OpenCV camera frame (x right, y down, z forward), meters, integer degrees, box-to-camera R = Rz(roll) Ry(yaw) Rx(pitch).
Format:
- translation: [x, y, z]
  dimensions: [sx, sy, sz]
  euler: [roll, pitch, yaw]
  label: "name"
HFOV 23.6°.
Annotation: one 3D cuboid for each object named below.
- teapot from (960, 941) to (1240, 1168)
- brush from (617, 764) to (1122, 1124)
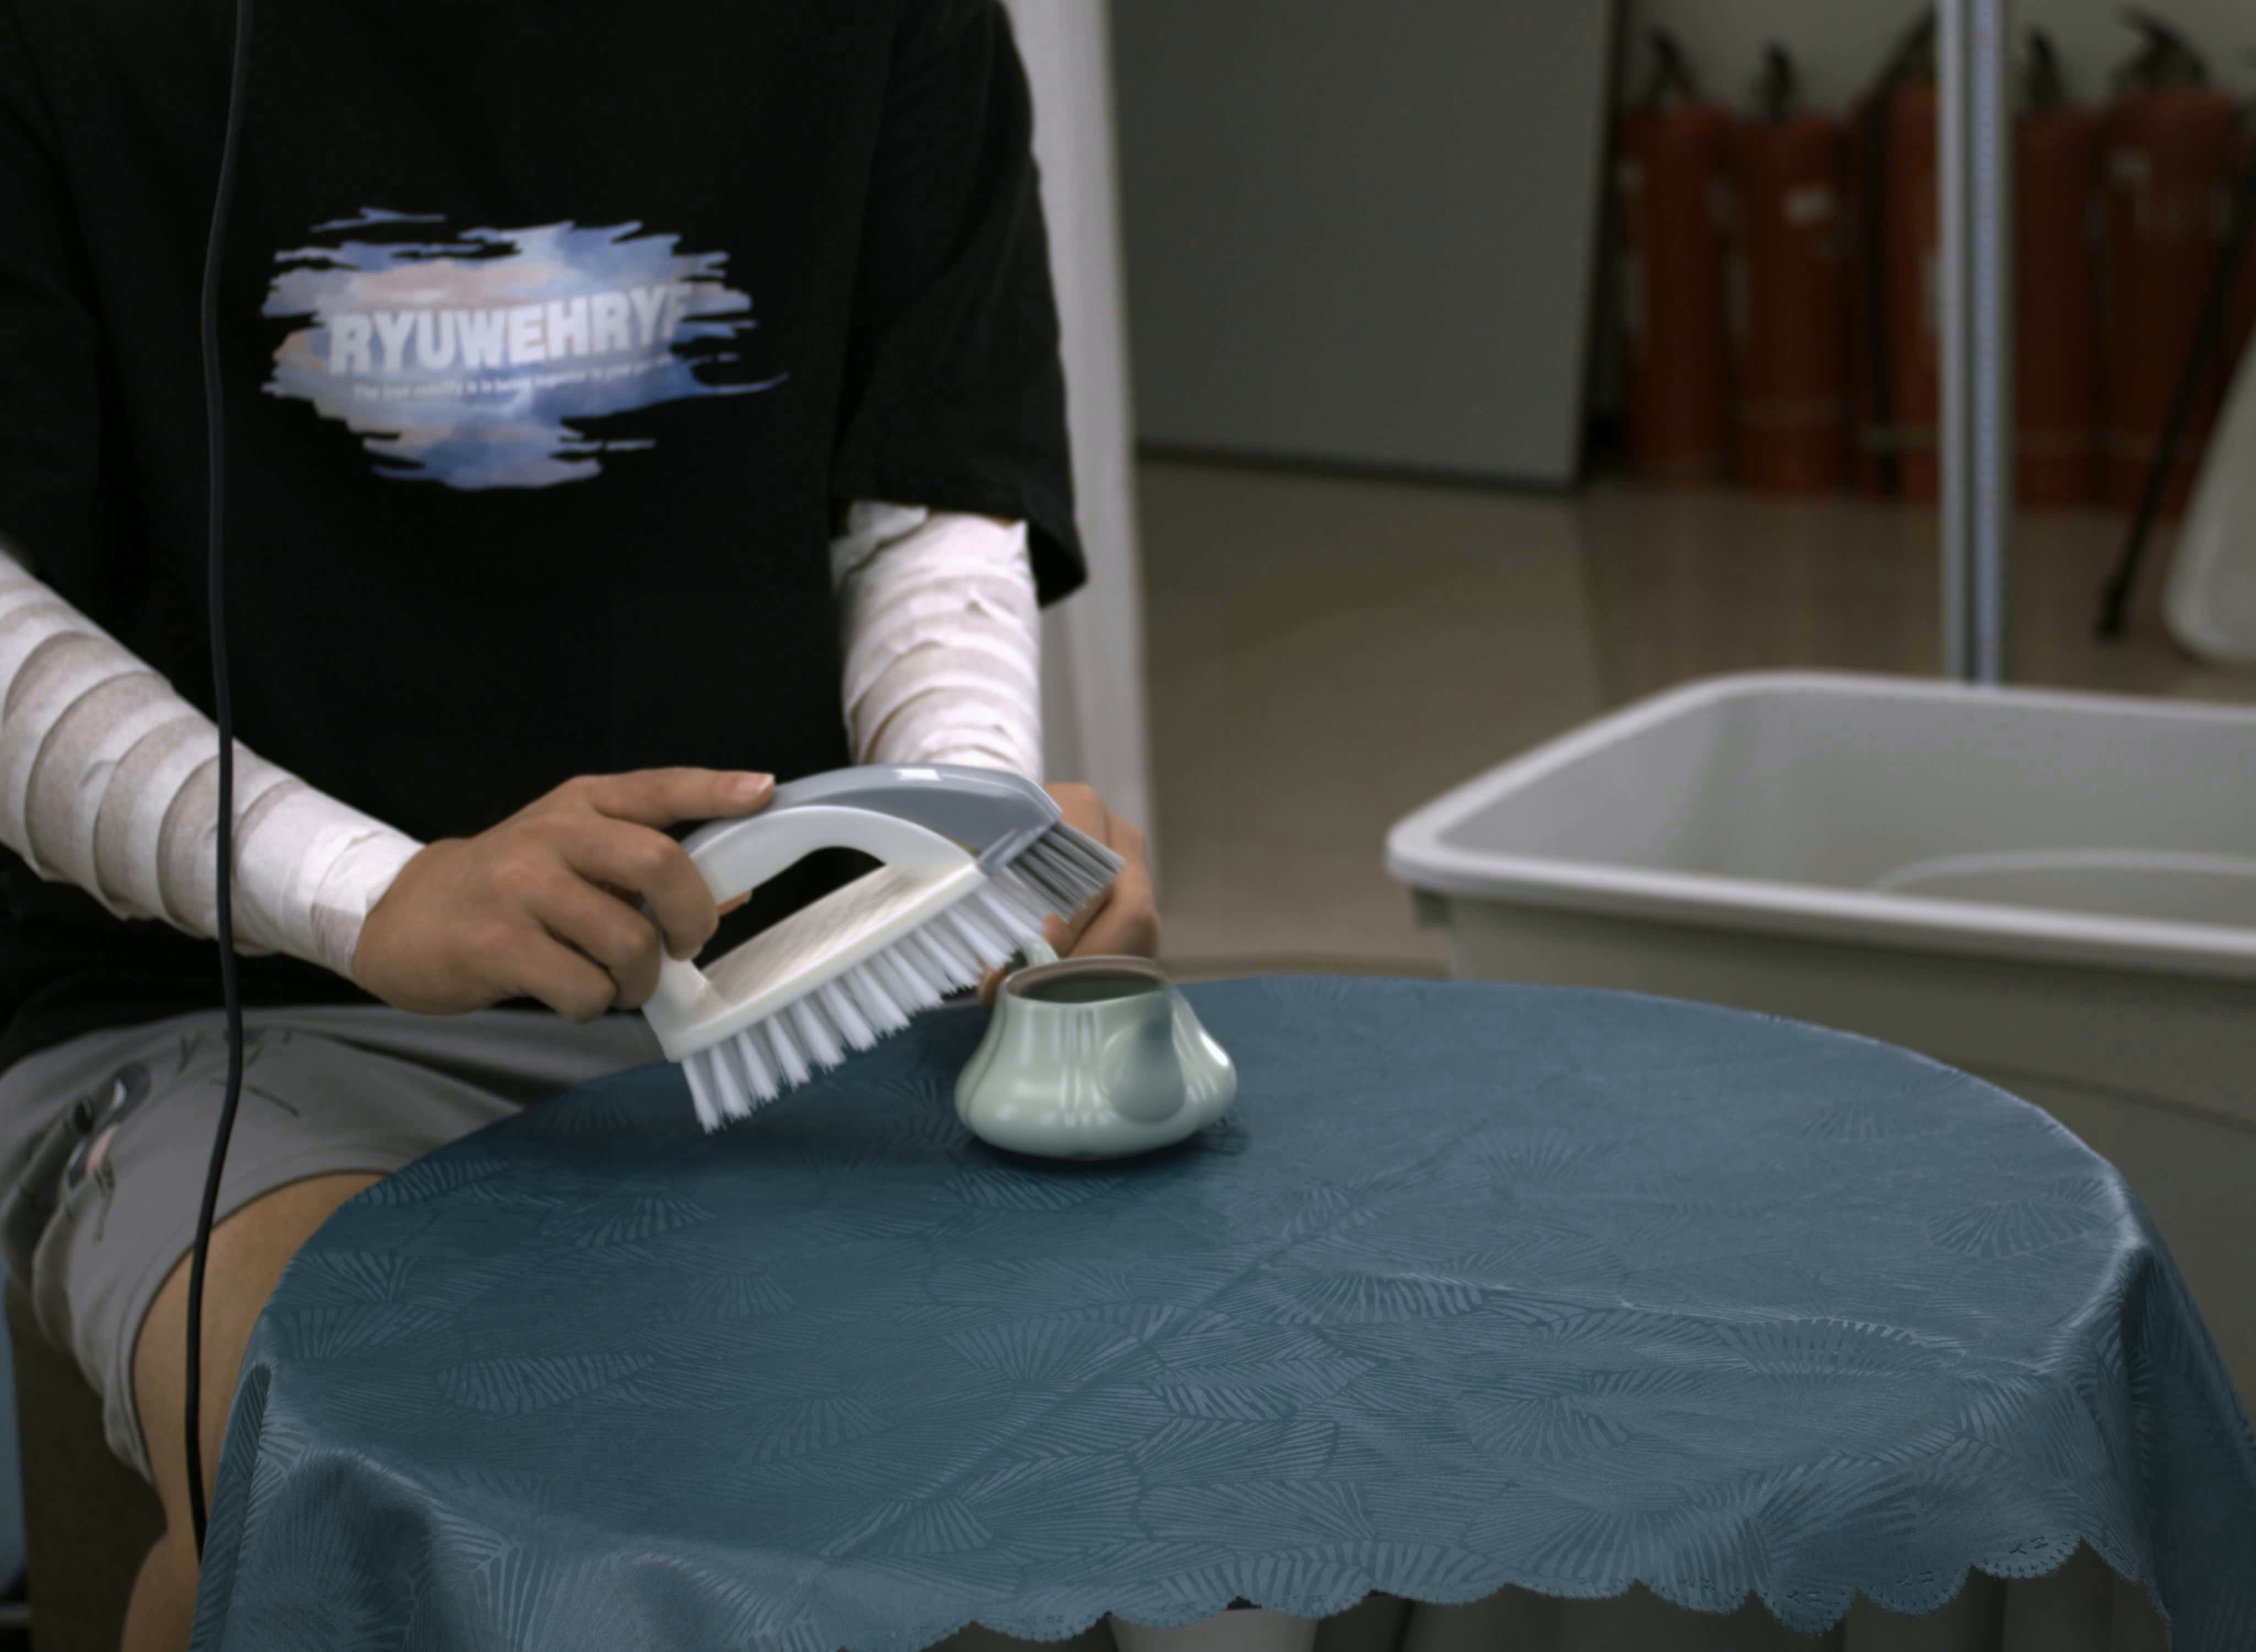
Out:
- translation: [-0.012, 0.078, 1.828]
  dimensions: [0.094, 0.062, 0.138]
  euler: [-12, 15, -23]
  label: "teapot"
- translation: [-0.095, 0.023, 1.827]
  dimensions: [0.176, 0.094, 0.061]
  euler: [-27, 22, 21]
  label: "brush"
